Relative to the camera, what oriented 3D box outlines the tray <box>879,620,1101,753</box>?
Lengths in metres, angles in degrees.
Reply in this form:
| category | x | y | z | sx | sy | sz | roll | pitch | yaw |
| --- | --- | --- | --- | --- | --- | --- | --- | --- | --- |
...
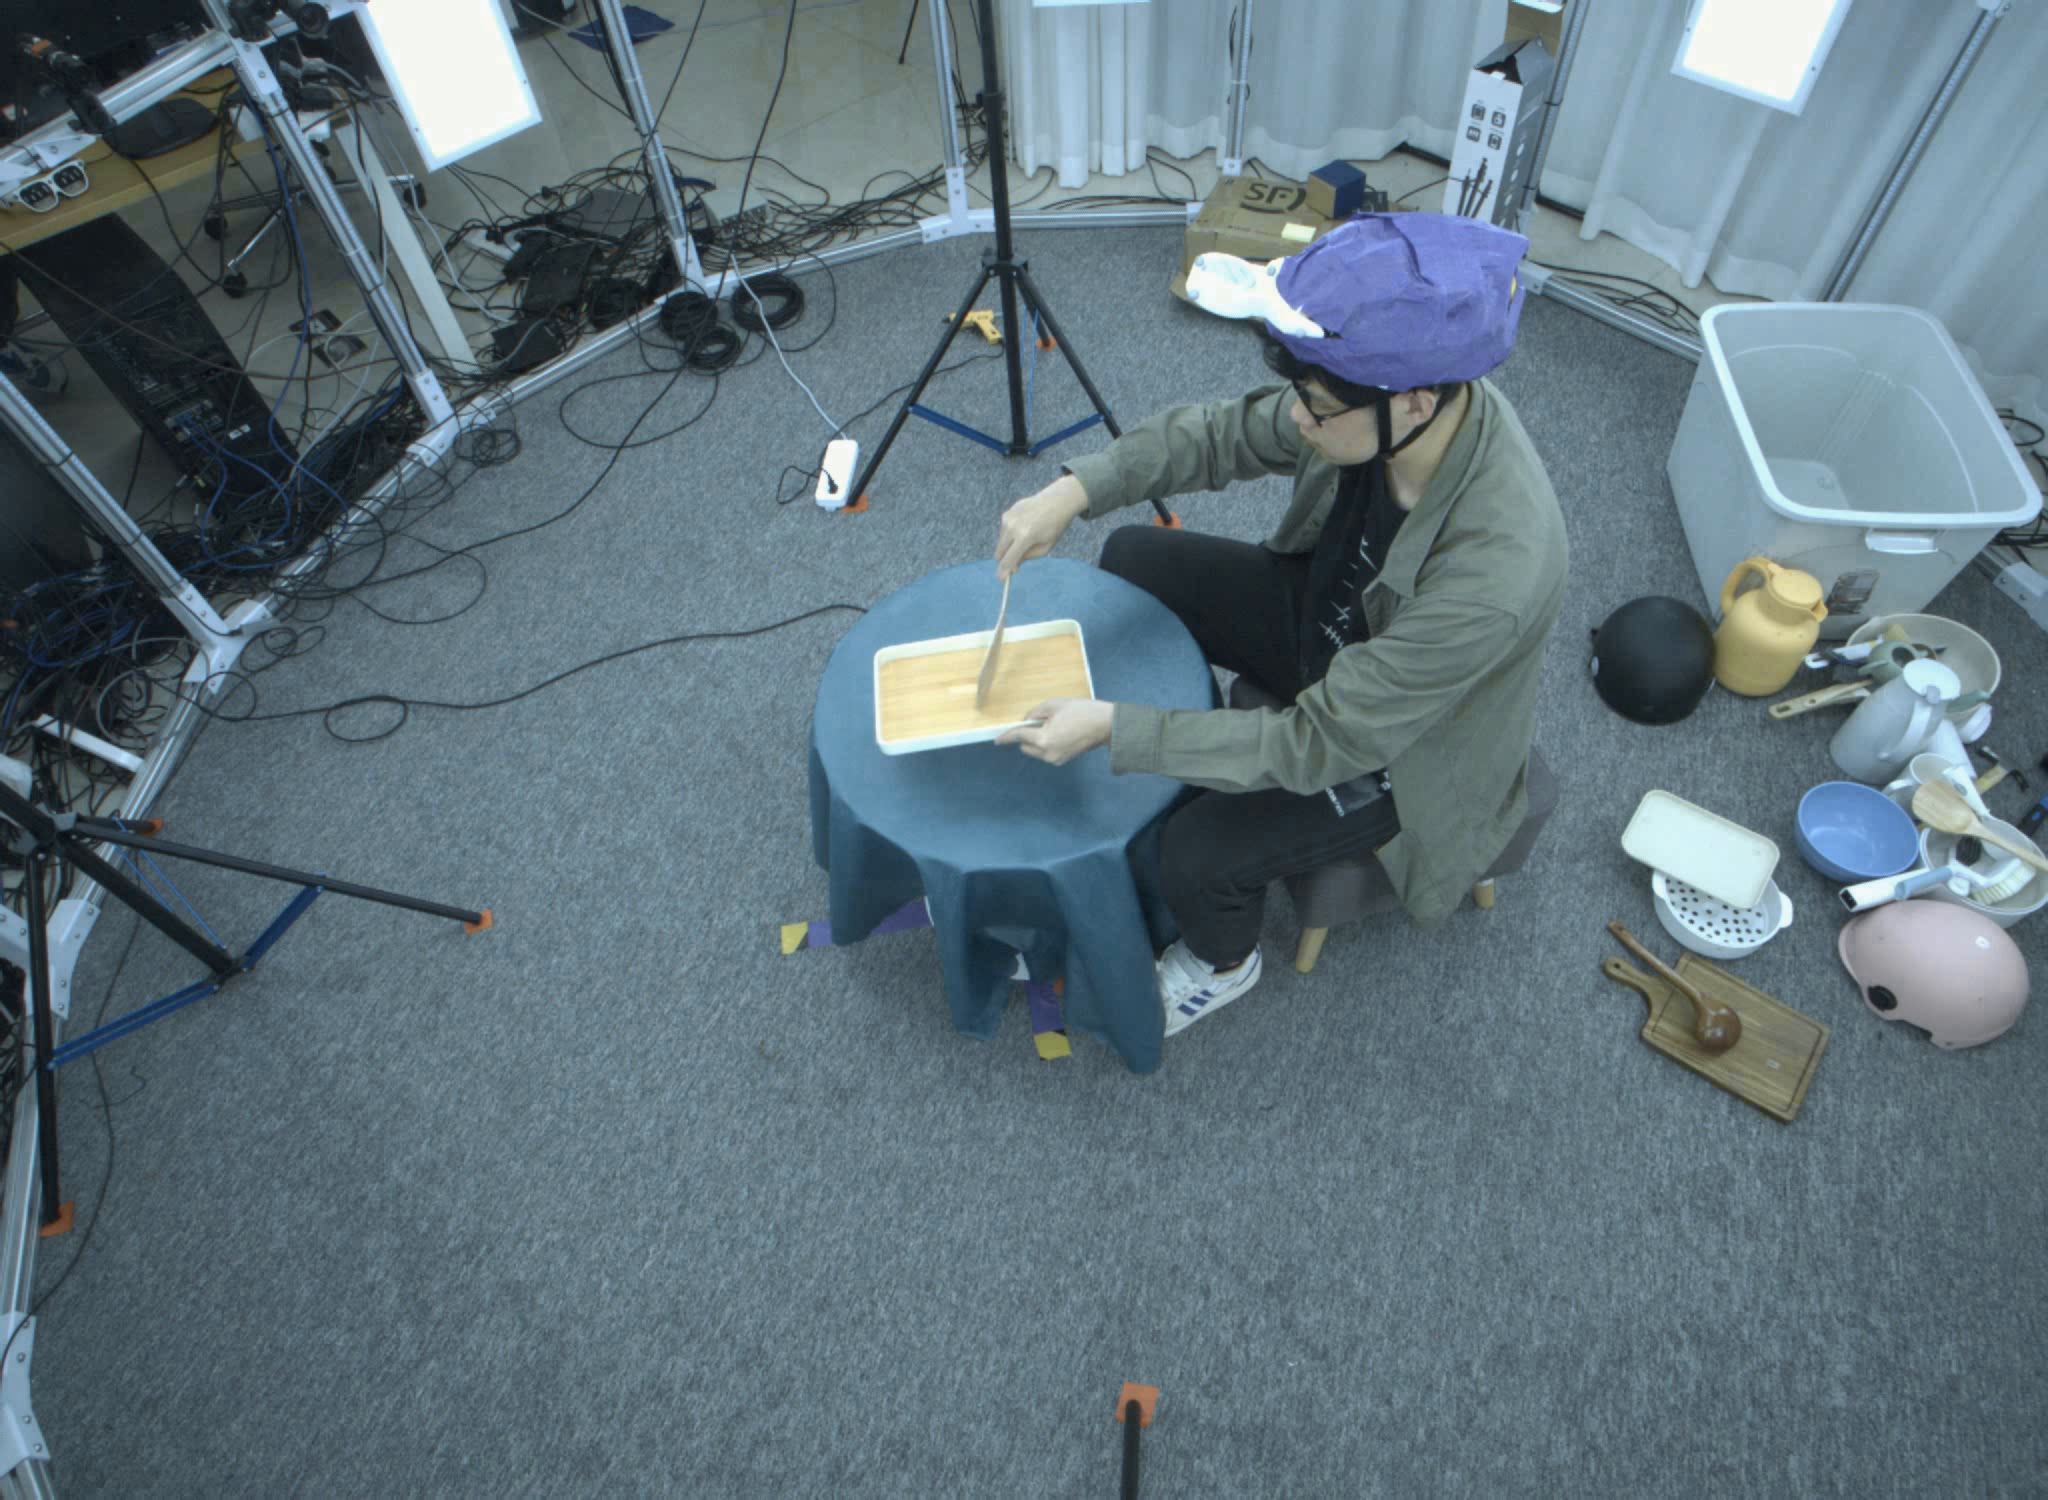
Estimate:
| category | x | y | z | sx | sy | sz | roll | pitch | yaw |
| --- | --- | --- | --- | --- | --- | --- | --- | --- | --- |
| tray | -0.052 | -0.091 | 1.715 | 0.300 | 0.028 | 0.189 | -7 | 50 | -1 |

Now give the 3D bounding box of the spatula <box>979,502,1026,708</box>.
| category | x | y | z | sx | sy | sz | roll | pitch | yaw |
| --- | --- | --- | --- | --- | --- | --- | --- | --- | --- |
| spatula | -0.030 | -0.217 | 1.726 | 0.016 | 0.080 | 0.325 | 7 | 65 | 5 |
